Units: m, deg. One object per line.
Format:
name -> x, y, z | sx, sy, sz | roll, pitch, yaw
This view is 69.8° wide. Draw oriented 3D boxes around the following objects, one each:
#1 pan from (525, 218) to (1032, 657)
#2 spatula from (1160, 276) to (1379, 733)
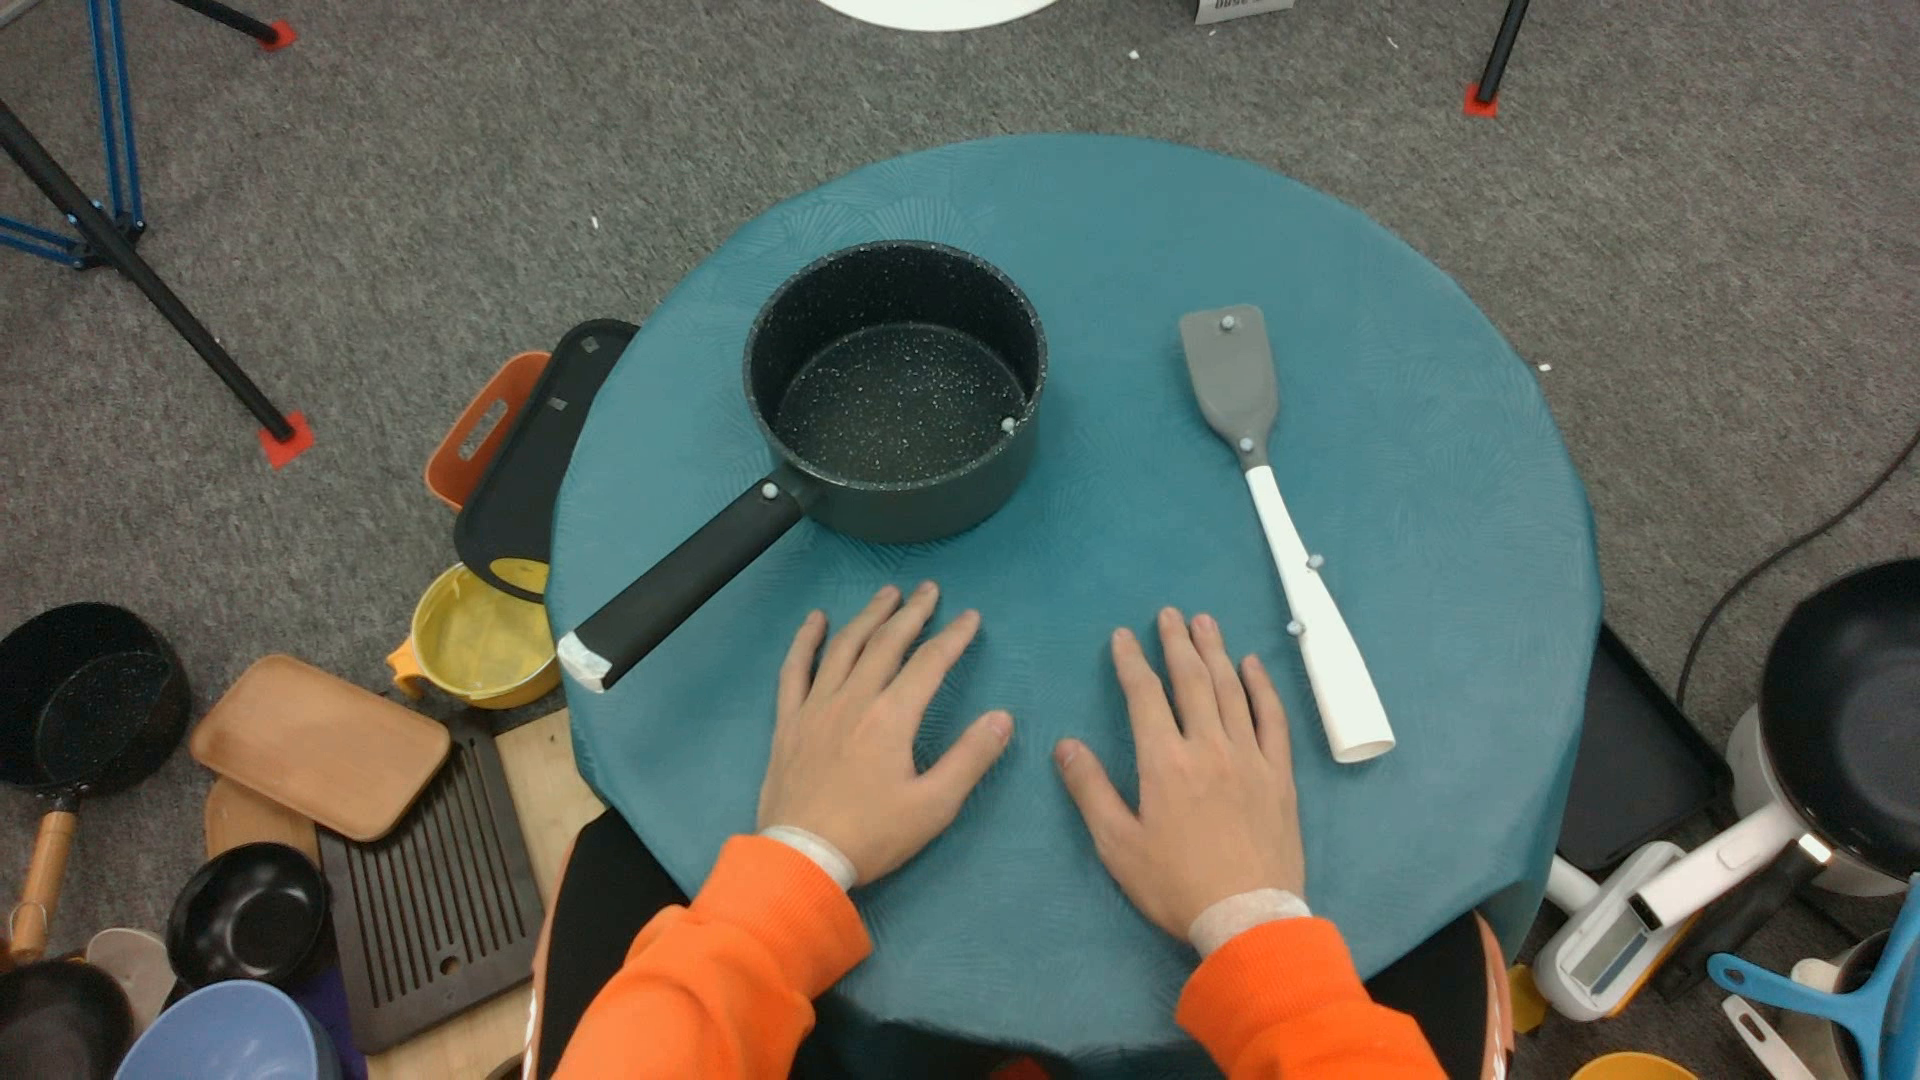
pan -> -0.096, -0.043, 0.765 | 0.172, 0.086, 0.330 | 36, 67, 20
spatula -> 0.174, -0.030, 0.783 | 0.058, 0.032, 0.288 | -12, 63, 0
